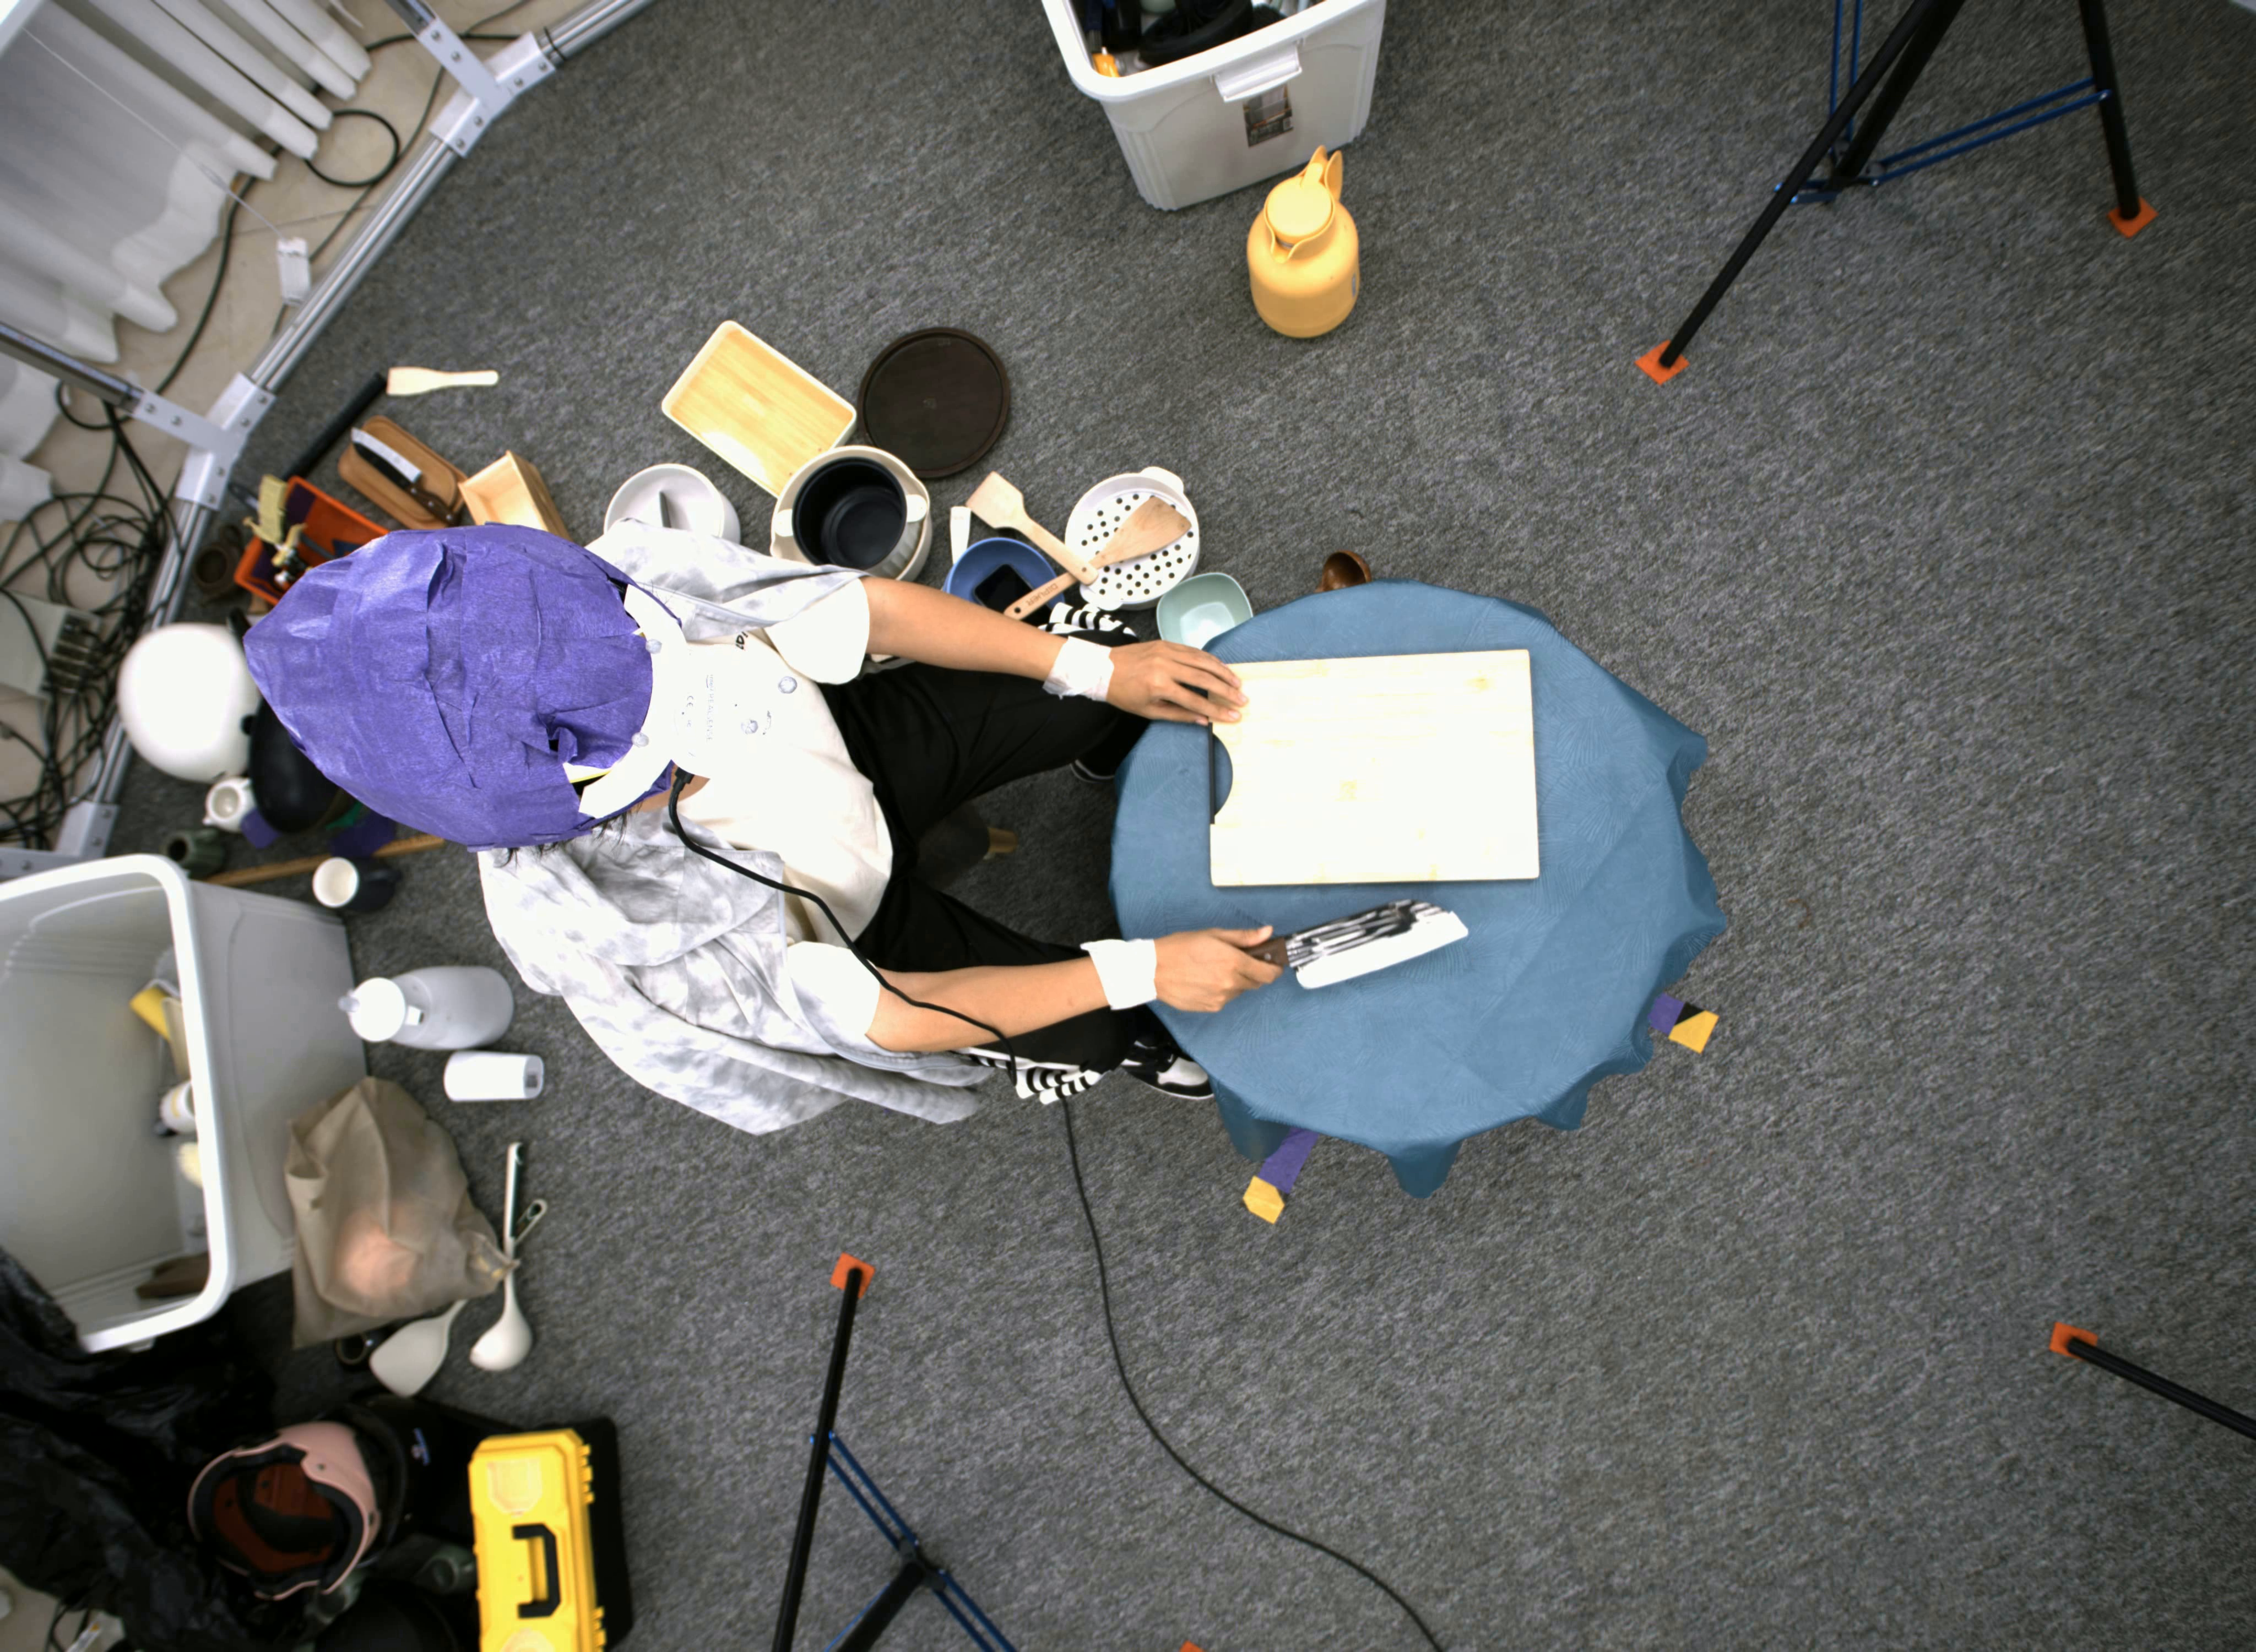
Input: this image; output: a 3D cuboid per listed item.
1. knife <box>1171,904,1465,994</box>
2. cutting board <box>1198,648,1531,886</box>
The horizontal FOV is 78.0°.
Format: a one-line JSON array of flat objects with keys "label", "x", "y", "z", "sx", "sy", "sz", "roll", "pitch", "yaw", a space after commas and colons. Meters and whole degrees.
[{"label": "knife", "x": 0.193, "y": 0.134, "z": 1.416, "sx": 0.302, "sy": 0.023, "sz": 0.069, "roll": -18, "pitch": 111, "yaw": 13}, {"label": "cutting board", "x": 0.250, "y": -0.062, "z": 1.461, "sx": 0.350, "sy": 0.023, "sz": 0.249, "roll": -3, "pitch": 86, "yaw": 11}]
